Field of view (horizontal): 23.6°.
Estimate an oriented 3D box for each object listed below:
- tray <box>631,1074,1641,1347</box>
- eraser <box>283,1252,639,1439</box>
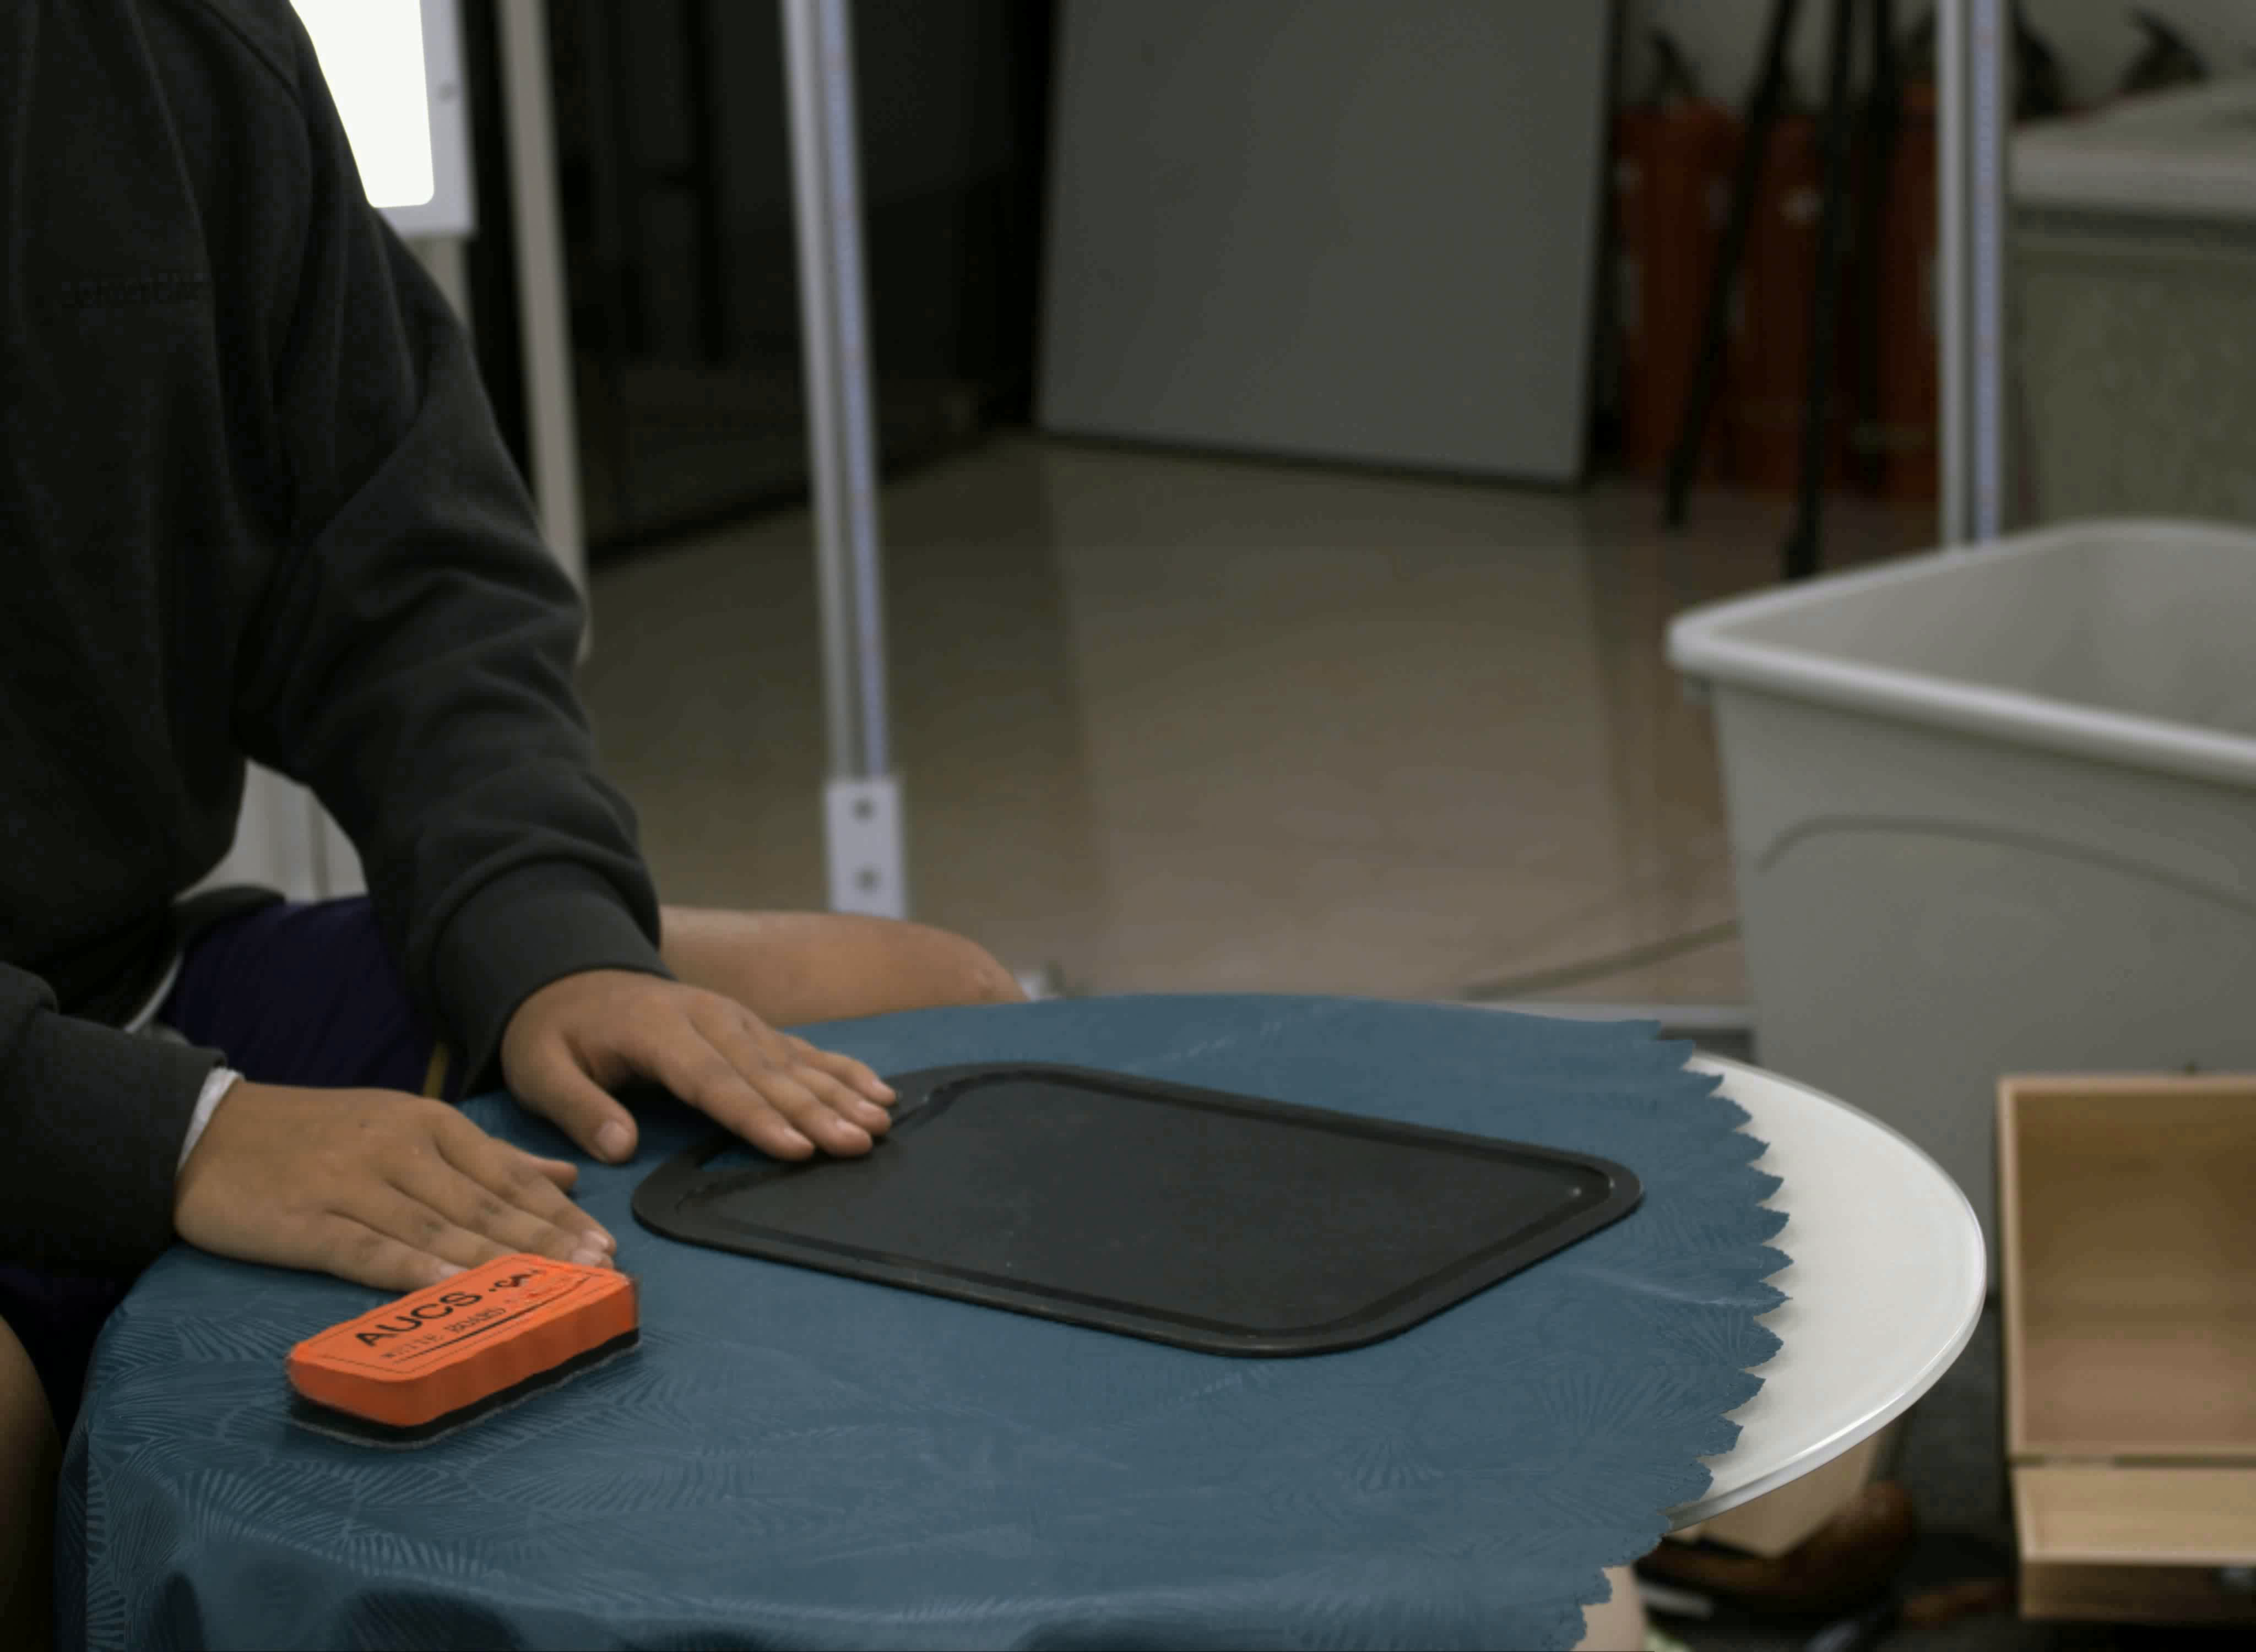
[{"bbox_3d":[-0.006,0.120,1.761,0.328,0.010,0.207,7,17,39],"label":"tray"},{"bbox_3d":[-0.199,0.155,1.625,0.059,0.023,0.106,7,16,36],"label":"eraser"}]
